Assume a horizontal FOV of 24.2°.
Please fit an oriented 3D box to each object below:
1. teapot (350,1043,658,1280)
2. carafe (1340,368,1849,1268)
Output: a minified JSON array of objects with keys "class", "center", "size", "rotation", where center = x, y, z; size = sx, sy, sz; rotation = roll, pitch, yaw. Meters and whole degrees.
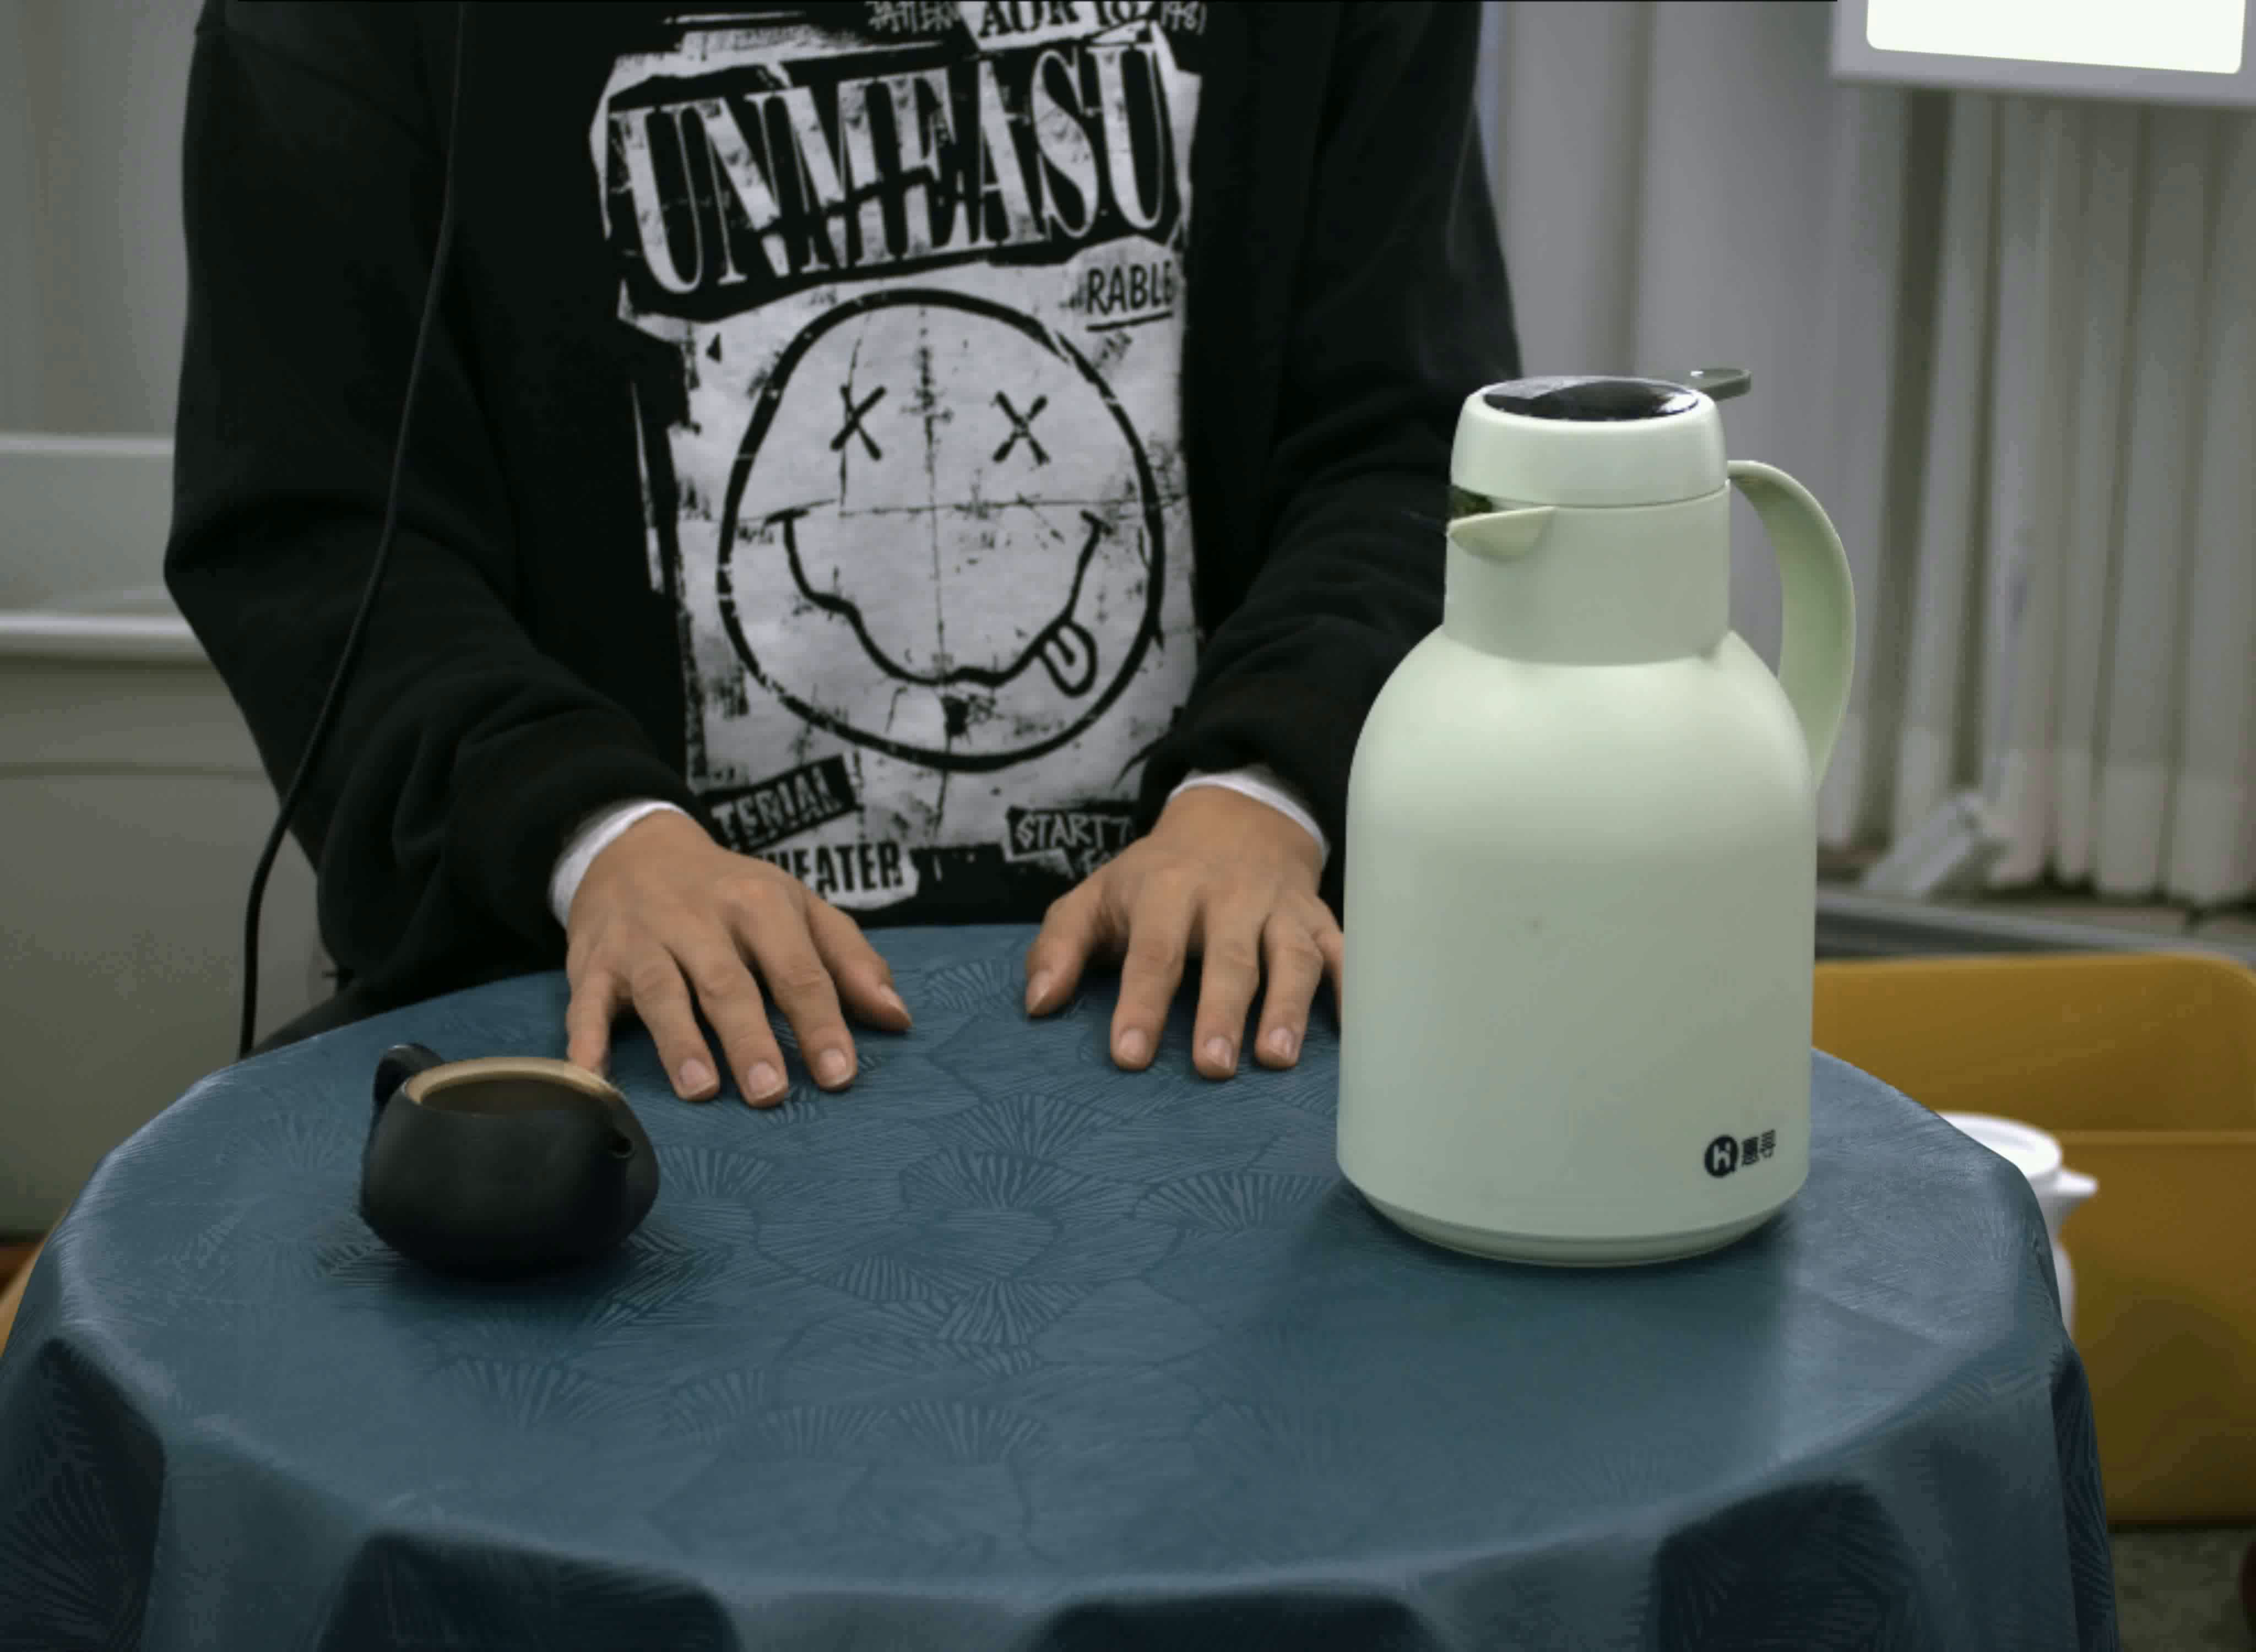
[{"class":"teapot","center":[-0.185,0.101,1.558],"size":[0.091,0.053,0.131],"rotation":[-10,19,-39]},{"class":"carafe","center":[0.147,-0.008,1.590],"size":[0.188,0.258,0.142],"rotation":[-11,18,-44]}]
